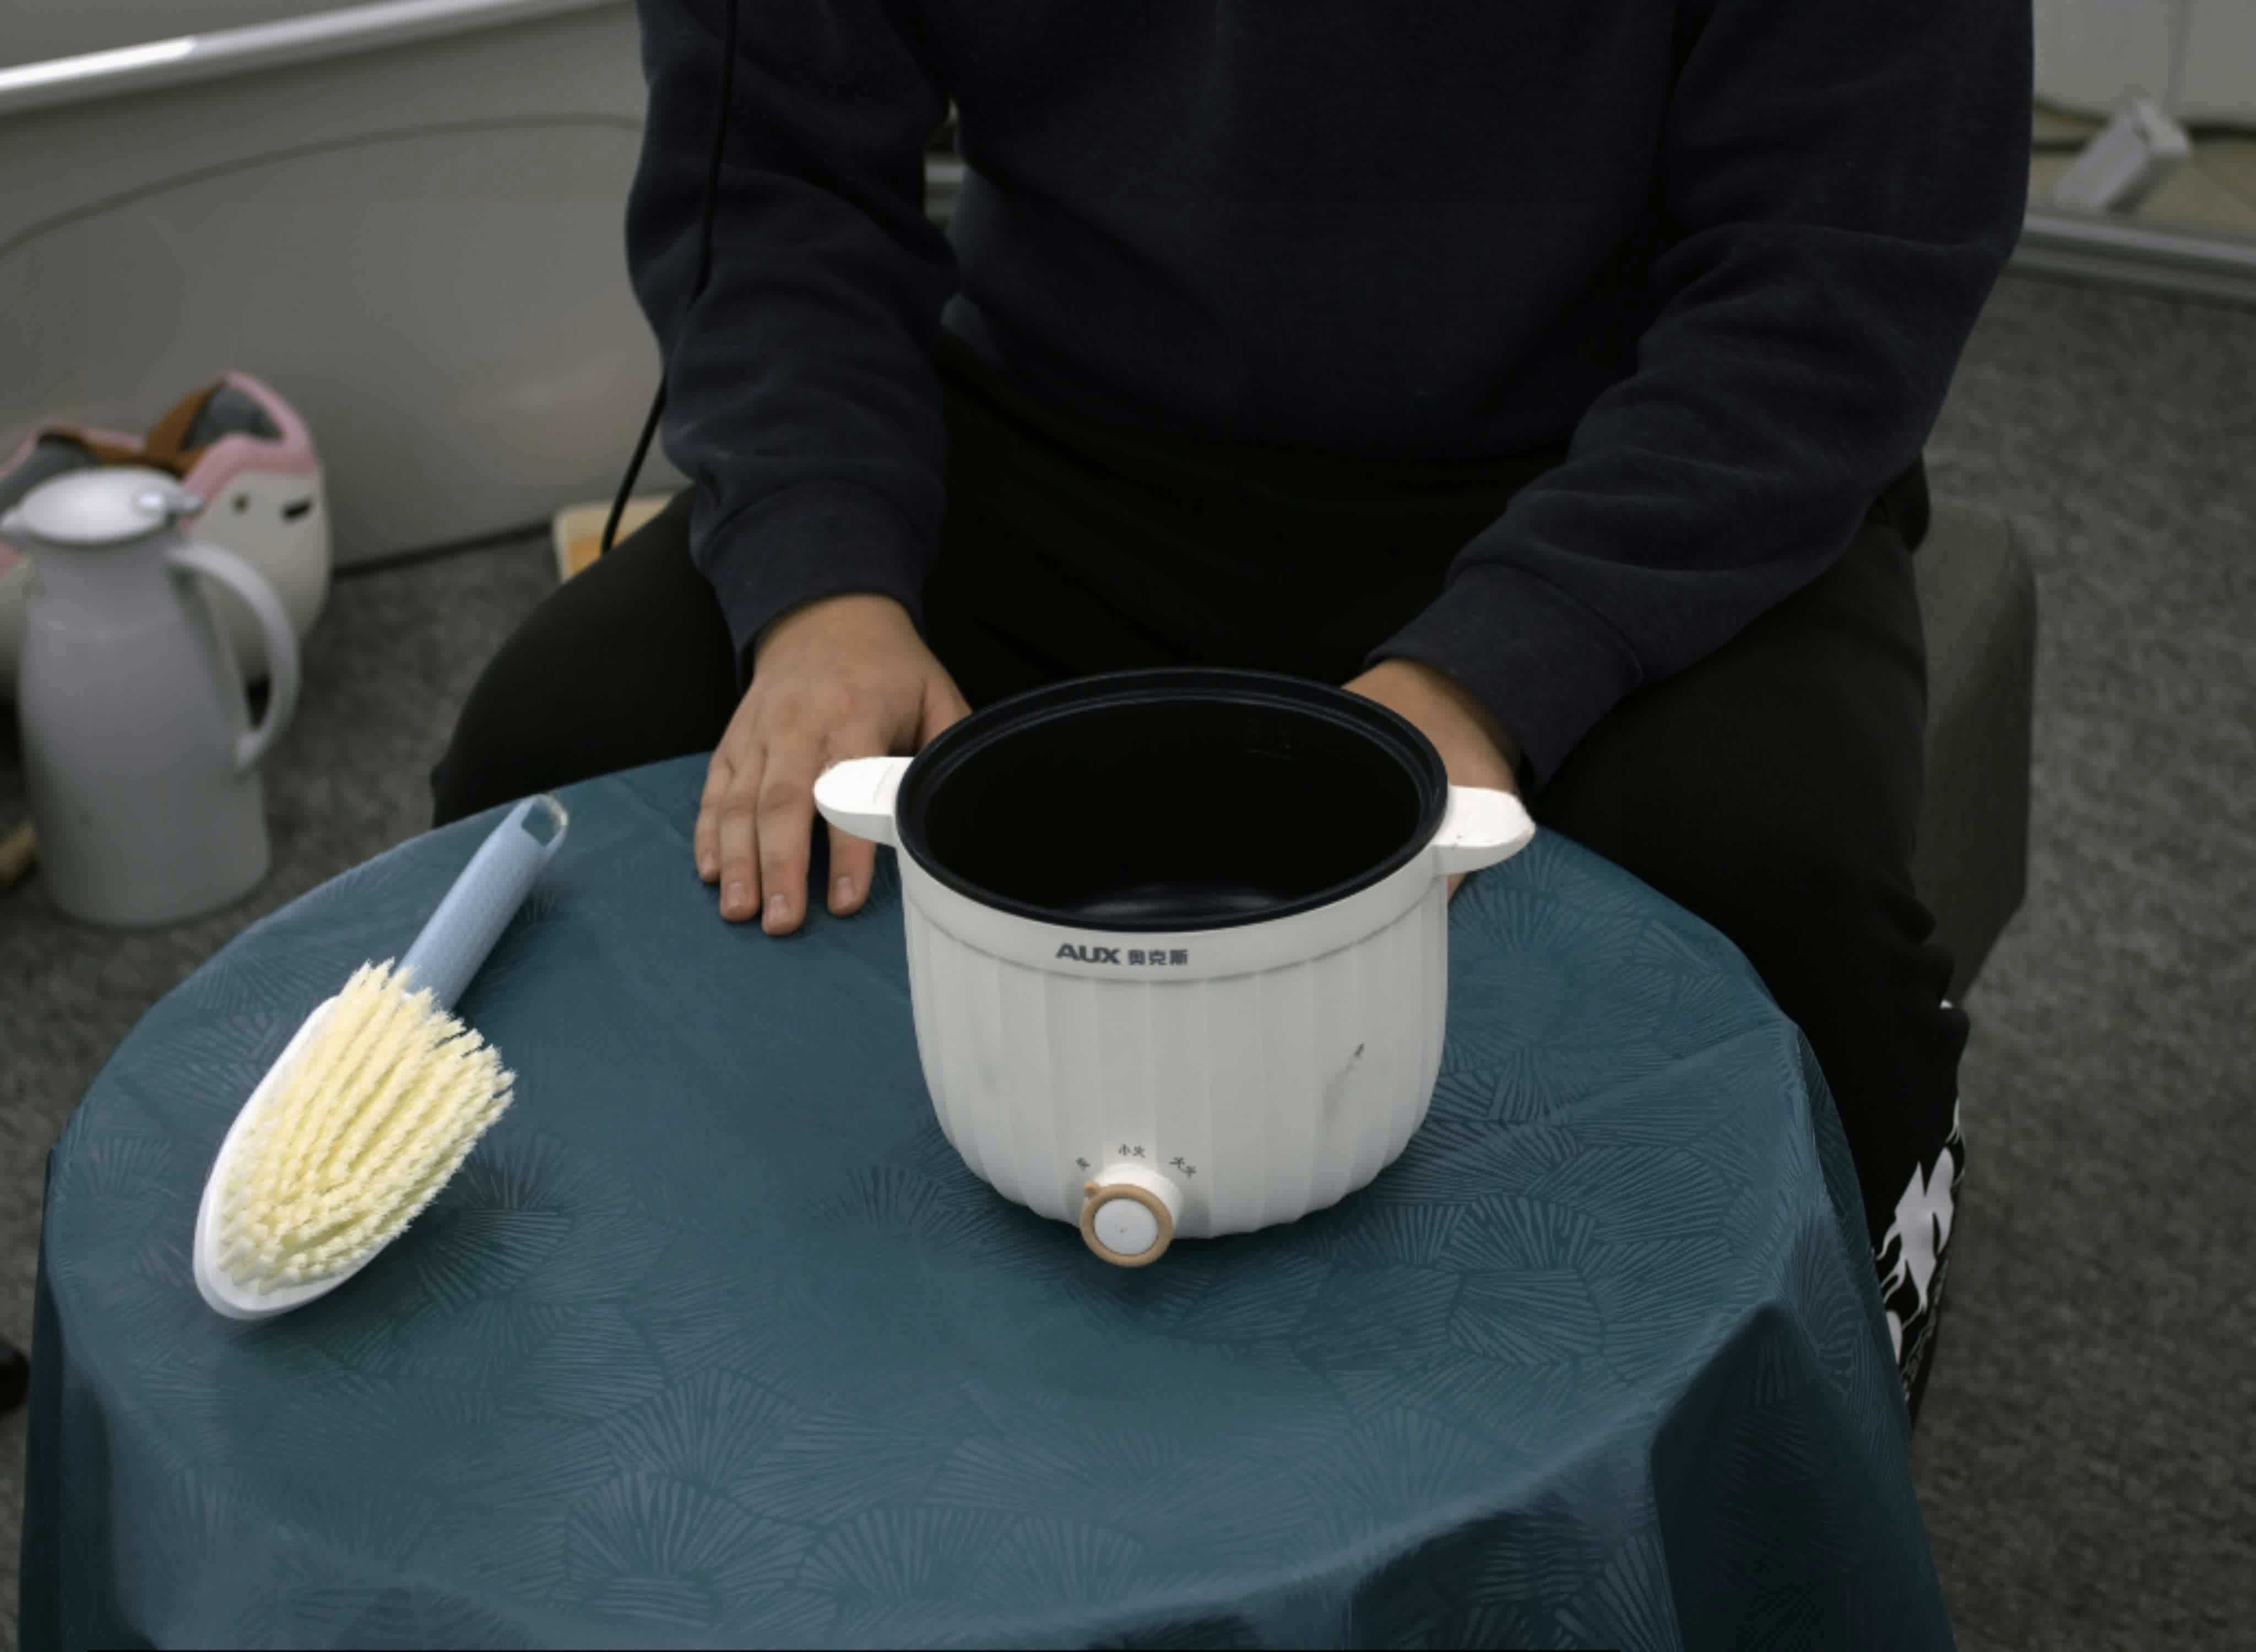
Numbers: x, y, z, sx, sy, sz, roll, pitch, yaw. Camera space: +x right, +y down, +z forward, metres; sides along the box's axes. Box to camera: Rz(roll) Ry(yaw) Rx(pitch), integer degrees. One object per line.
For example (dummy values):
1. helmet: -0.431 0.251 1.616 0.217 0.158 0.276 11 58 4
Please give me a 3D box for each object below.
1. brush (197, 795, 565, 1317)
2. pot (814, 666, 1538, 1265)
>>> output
1. brush: -0.236 0.055 1.925 0.084 0.082 0.331 -2 28 16
2. pot: 0.017 0.049 1.855 0.239 0.141 0.193 2 24 11
